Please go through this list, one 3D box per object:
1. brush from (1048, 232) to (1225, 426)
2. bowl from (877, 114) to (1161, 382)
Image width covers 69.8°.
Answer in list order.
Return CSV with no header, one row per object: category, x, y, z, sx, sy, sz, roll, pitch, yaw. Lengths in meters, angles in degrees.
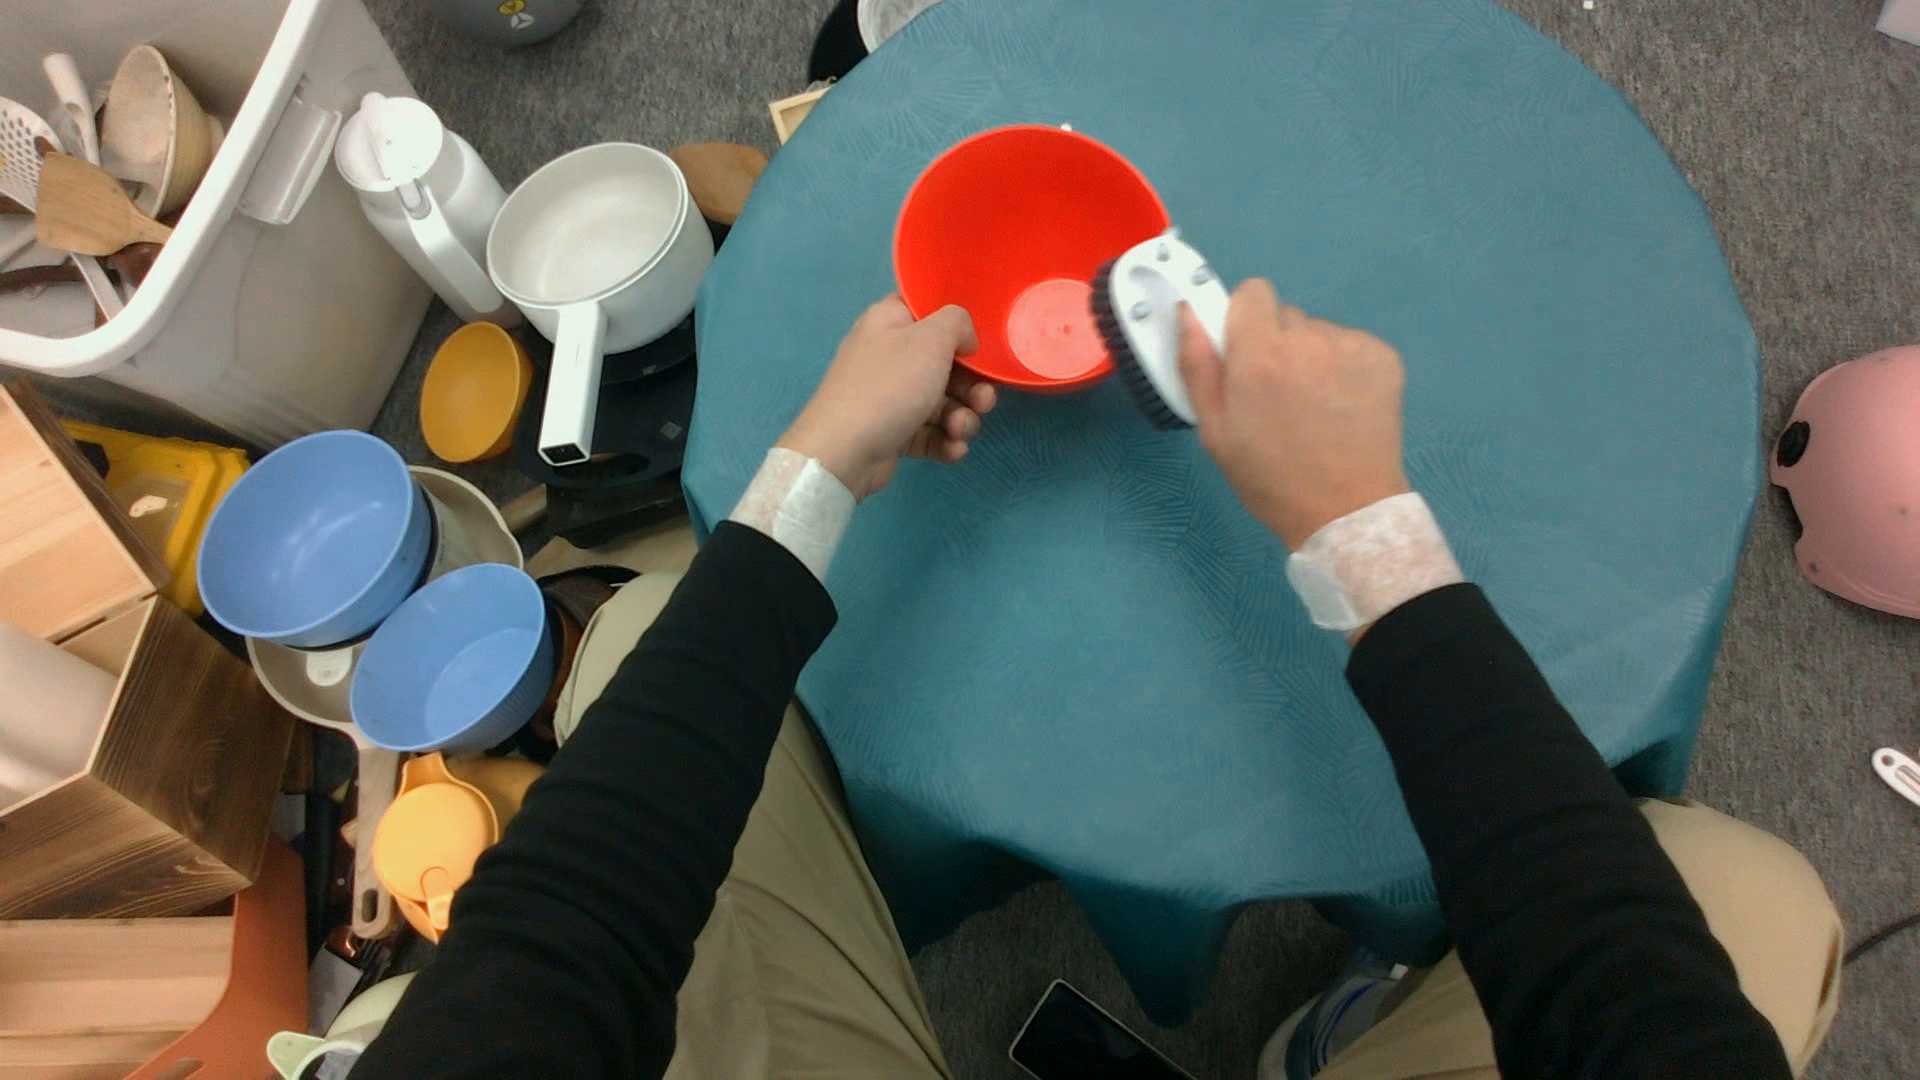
brush,0.093,-0.104,0.675,0.050,0.072,0.099,-35,100,-18
bowl,0.035,-0.146,0.758,0.148,0.104,0.148,-1,75,4
